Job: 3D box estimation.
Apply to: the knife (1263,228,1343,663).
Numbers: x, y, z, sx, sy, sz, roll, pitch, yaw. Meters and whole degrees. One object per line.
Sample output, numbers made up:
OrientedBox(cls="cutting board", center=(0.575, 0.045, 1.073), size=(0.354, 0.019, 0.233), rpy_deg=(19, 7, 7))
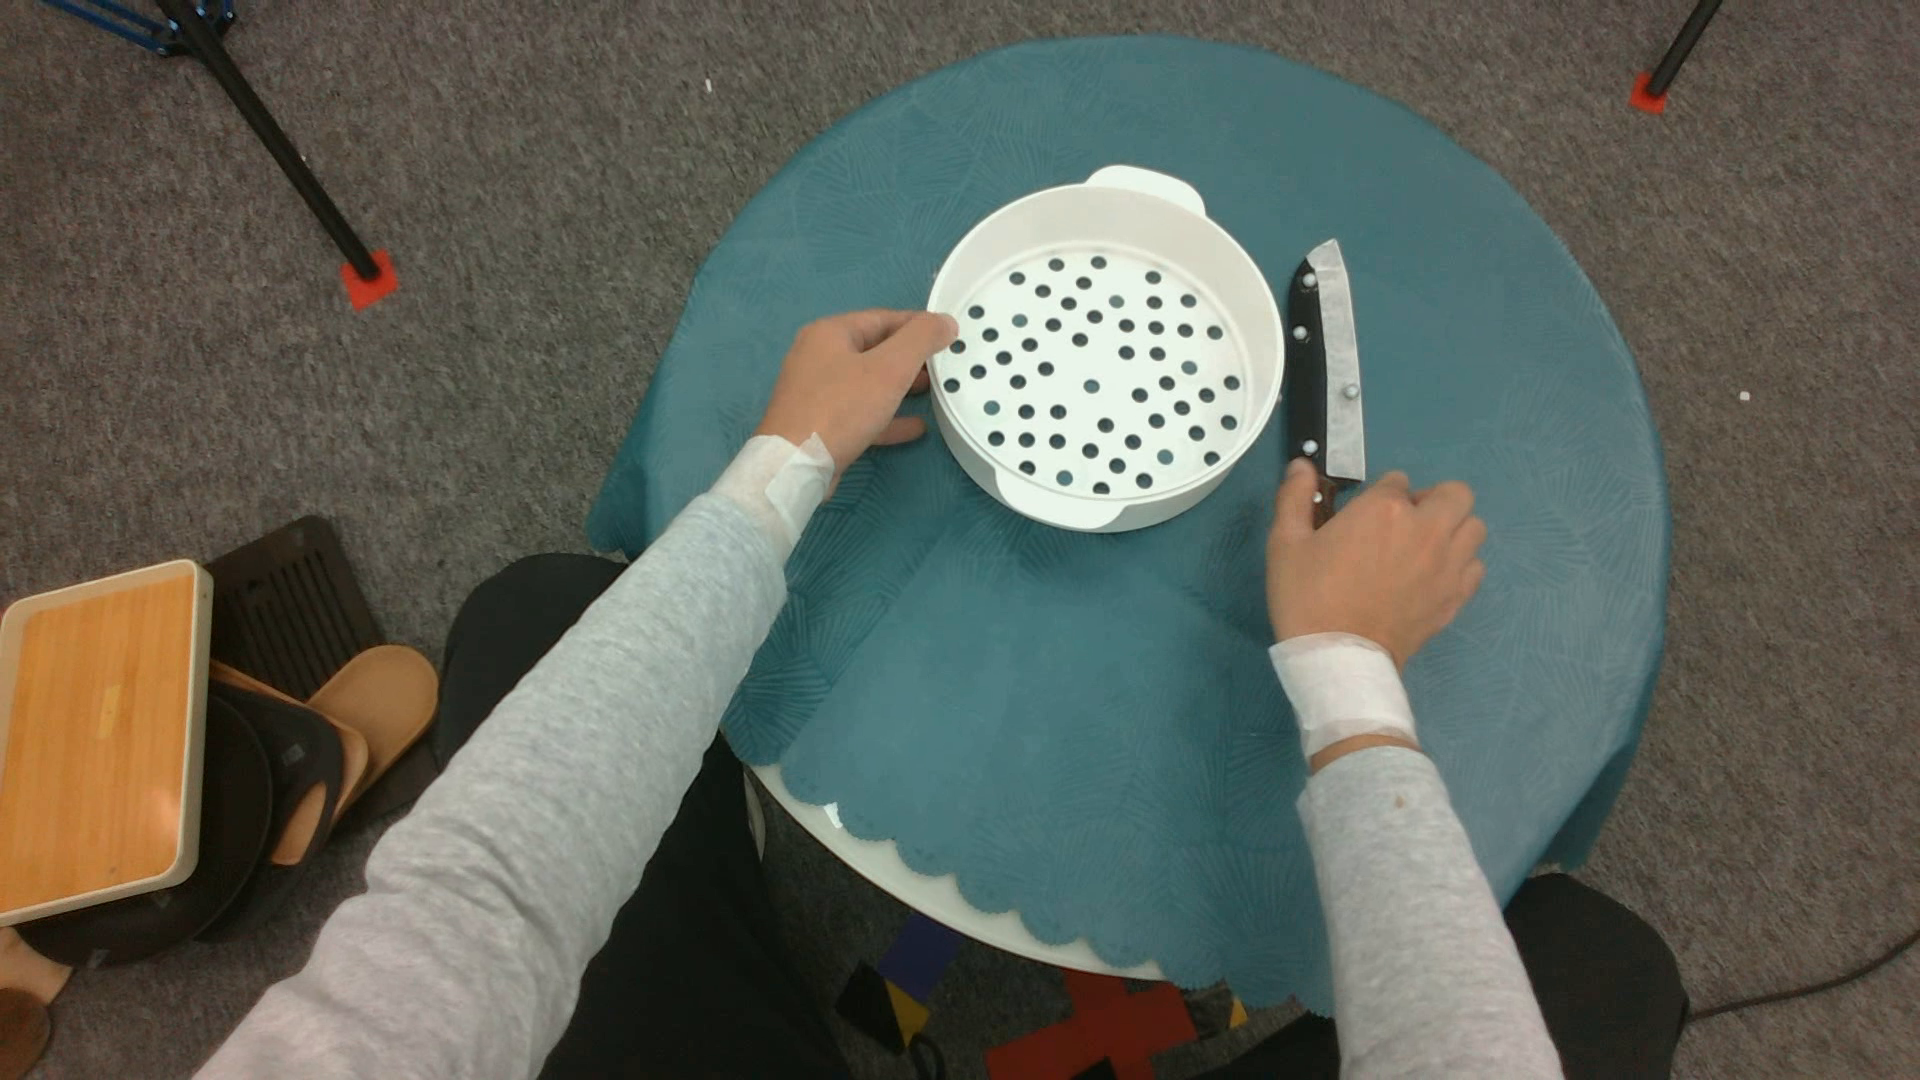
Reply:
OrientedBox(cls="knife", center=(0.201, -0.065, 0.809), size=(0.050, 0.020, 0.290), rpy_deg=(8, 66, -5))

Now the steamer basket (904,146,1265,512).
OrientedBox(cls="steamer basket", center=(0.069, -0.114, 0.793), size=(0.202, 0.069, 0.231), rpy_deg=(16, 70, 4))
